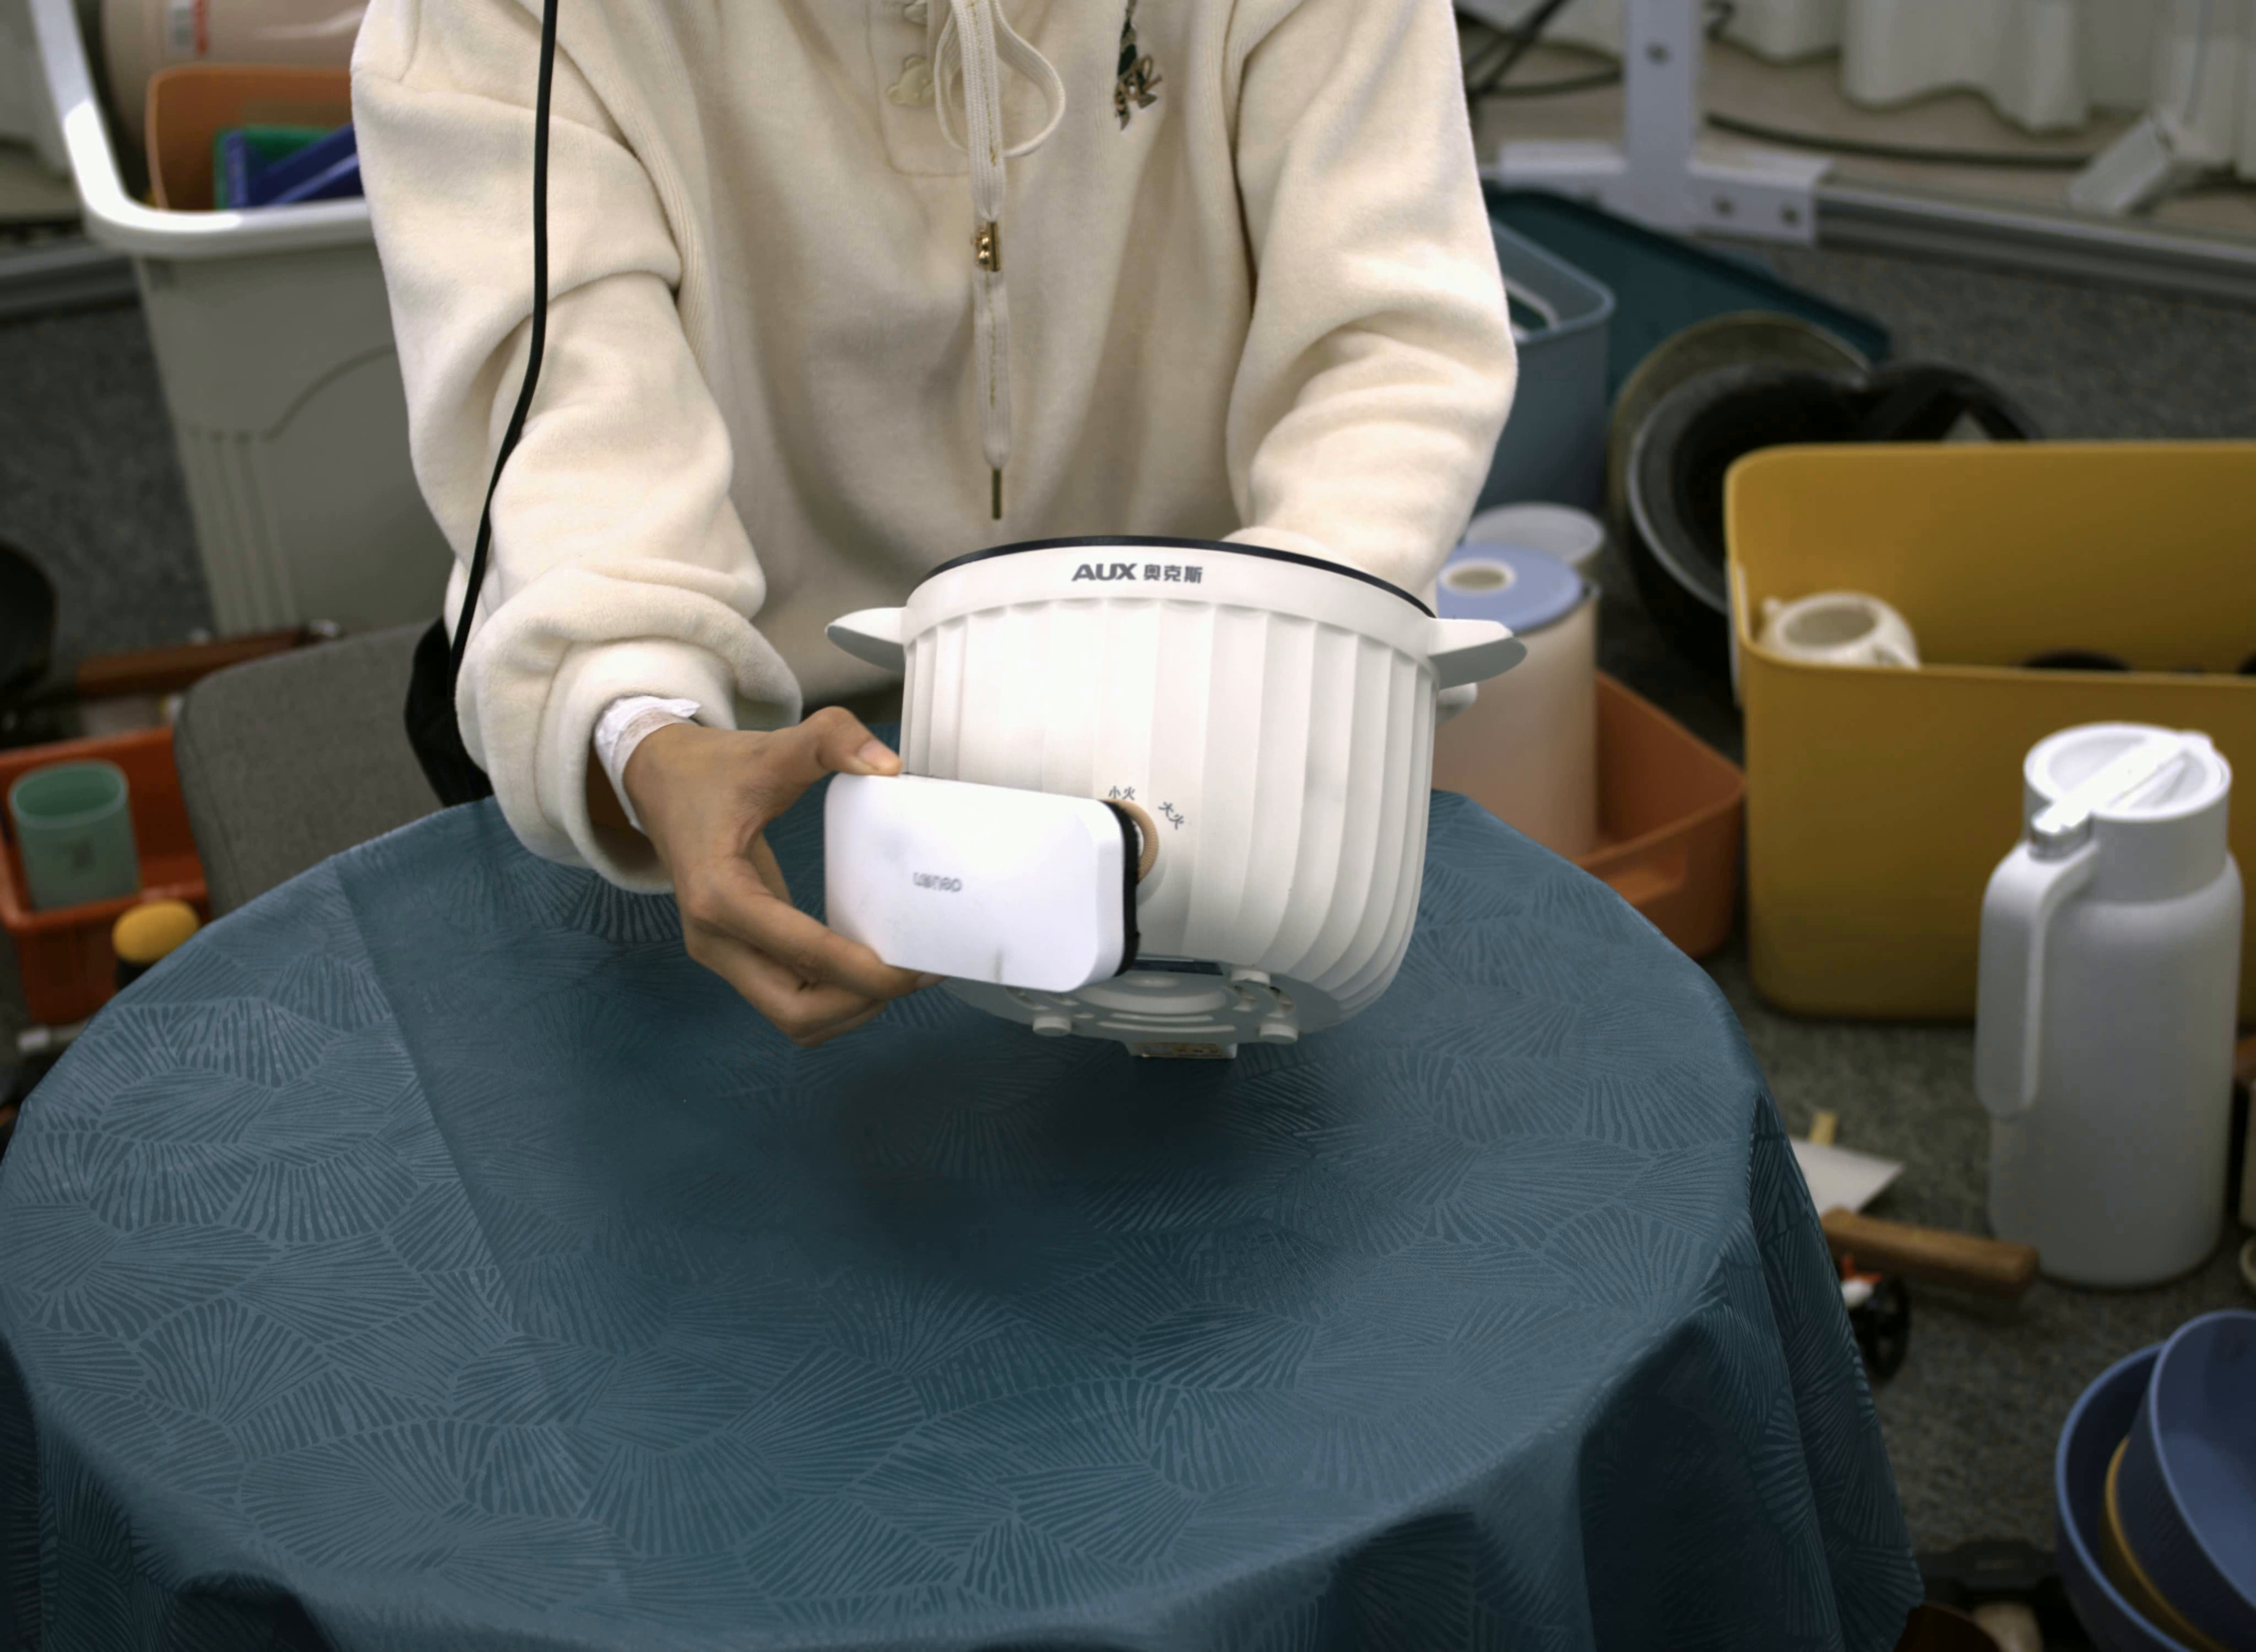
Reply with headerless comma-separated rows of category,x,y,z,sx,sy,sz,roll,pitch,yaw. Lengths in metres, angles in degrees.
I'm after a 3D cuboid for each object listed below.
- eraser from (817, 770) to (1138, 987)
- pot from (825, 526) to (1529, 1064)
eraser,-0.051,0.015,1.785,0.035,0.063,0.130,-1,5,-44
pot,0.012,-0.008,1.873,0.239,0.188,0.145,1,70,7
